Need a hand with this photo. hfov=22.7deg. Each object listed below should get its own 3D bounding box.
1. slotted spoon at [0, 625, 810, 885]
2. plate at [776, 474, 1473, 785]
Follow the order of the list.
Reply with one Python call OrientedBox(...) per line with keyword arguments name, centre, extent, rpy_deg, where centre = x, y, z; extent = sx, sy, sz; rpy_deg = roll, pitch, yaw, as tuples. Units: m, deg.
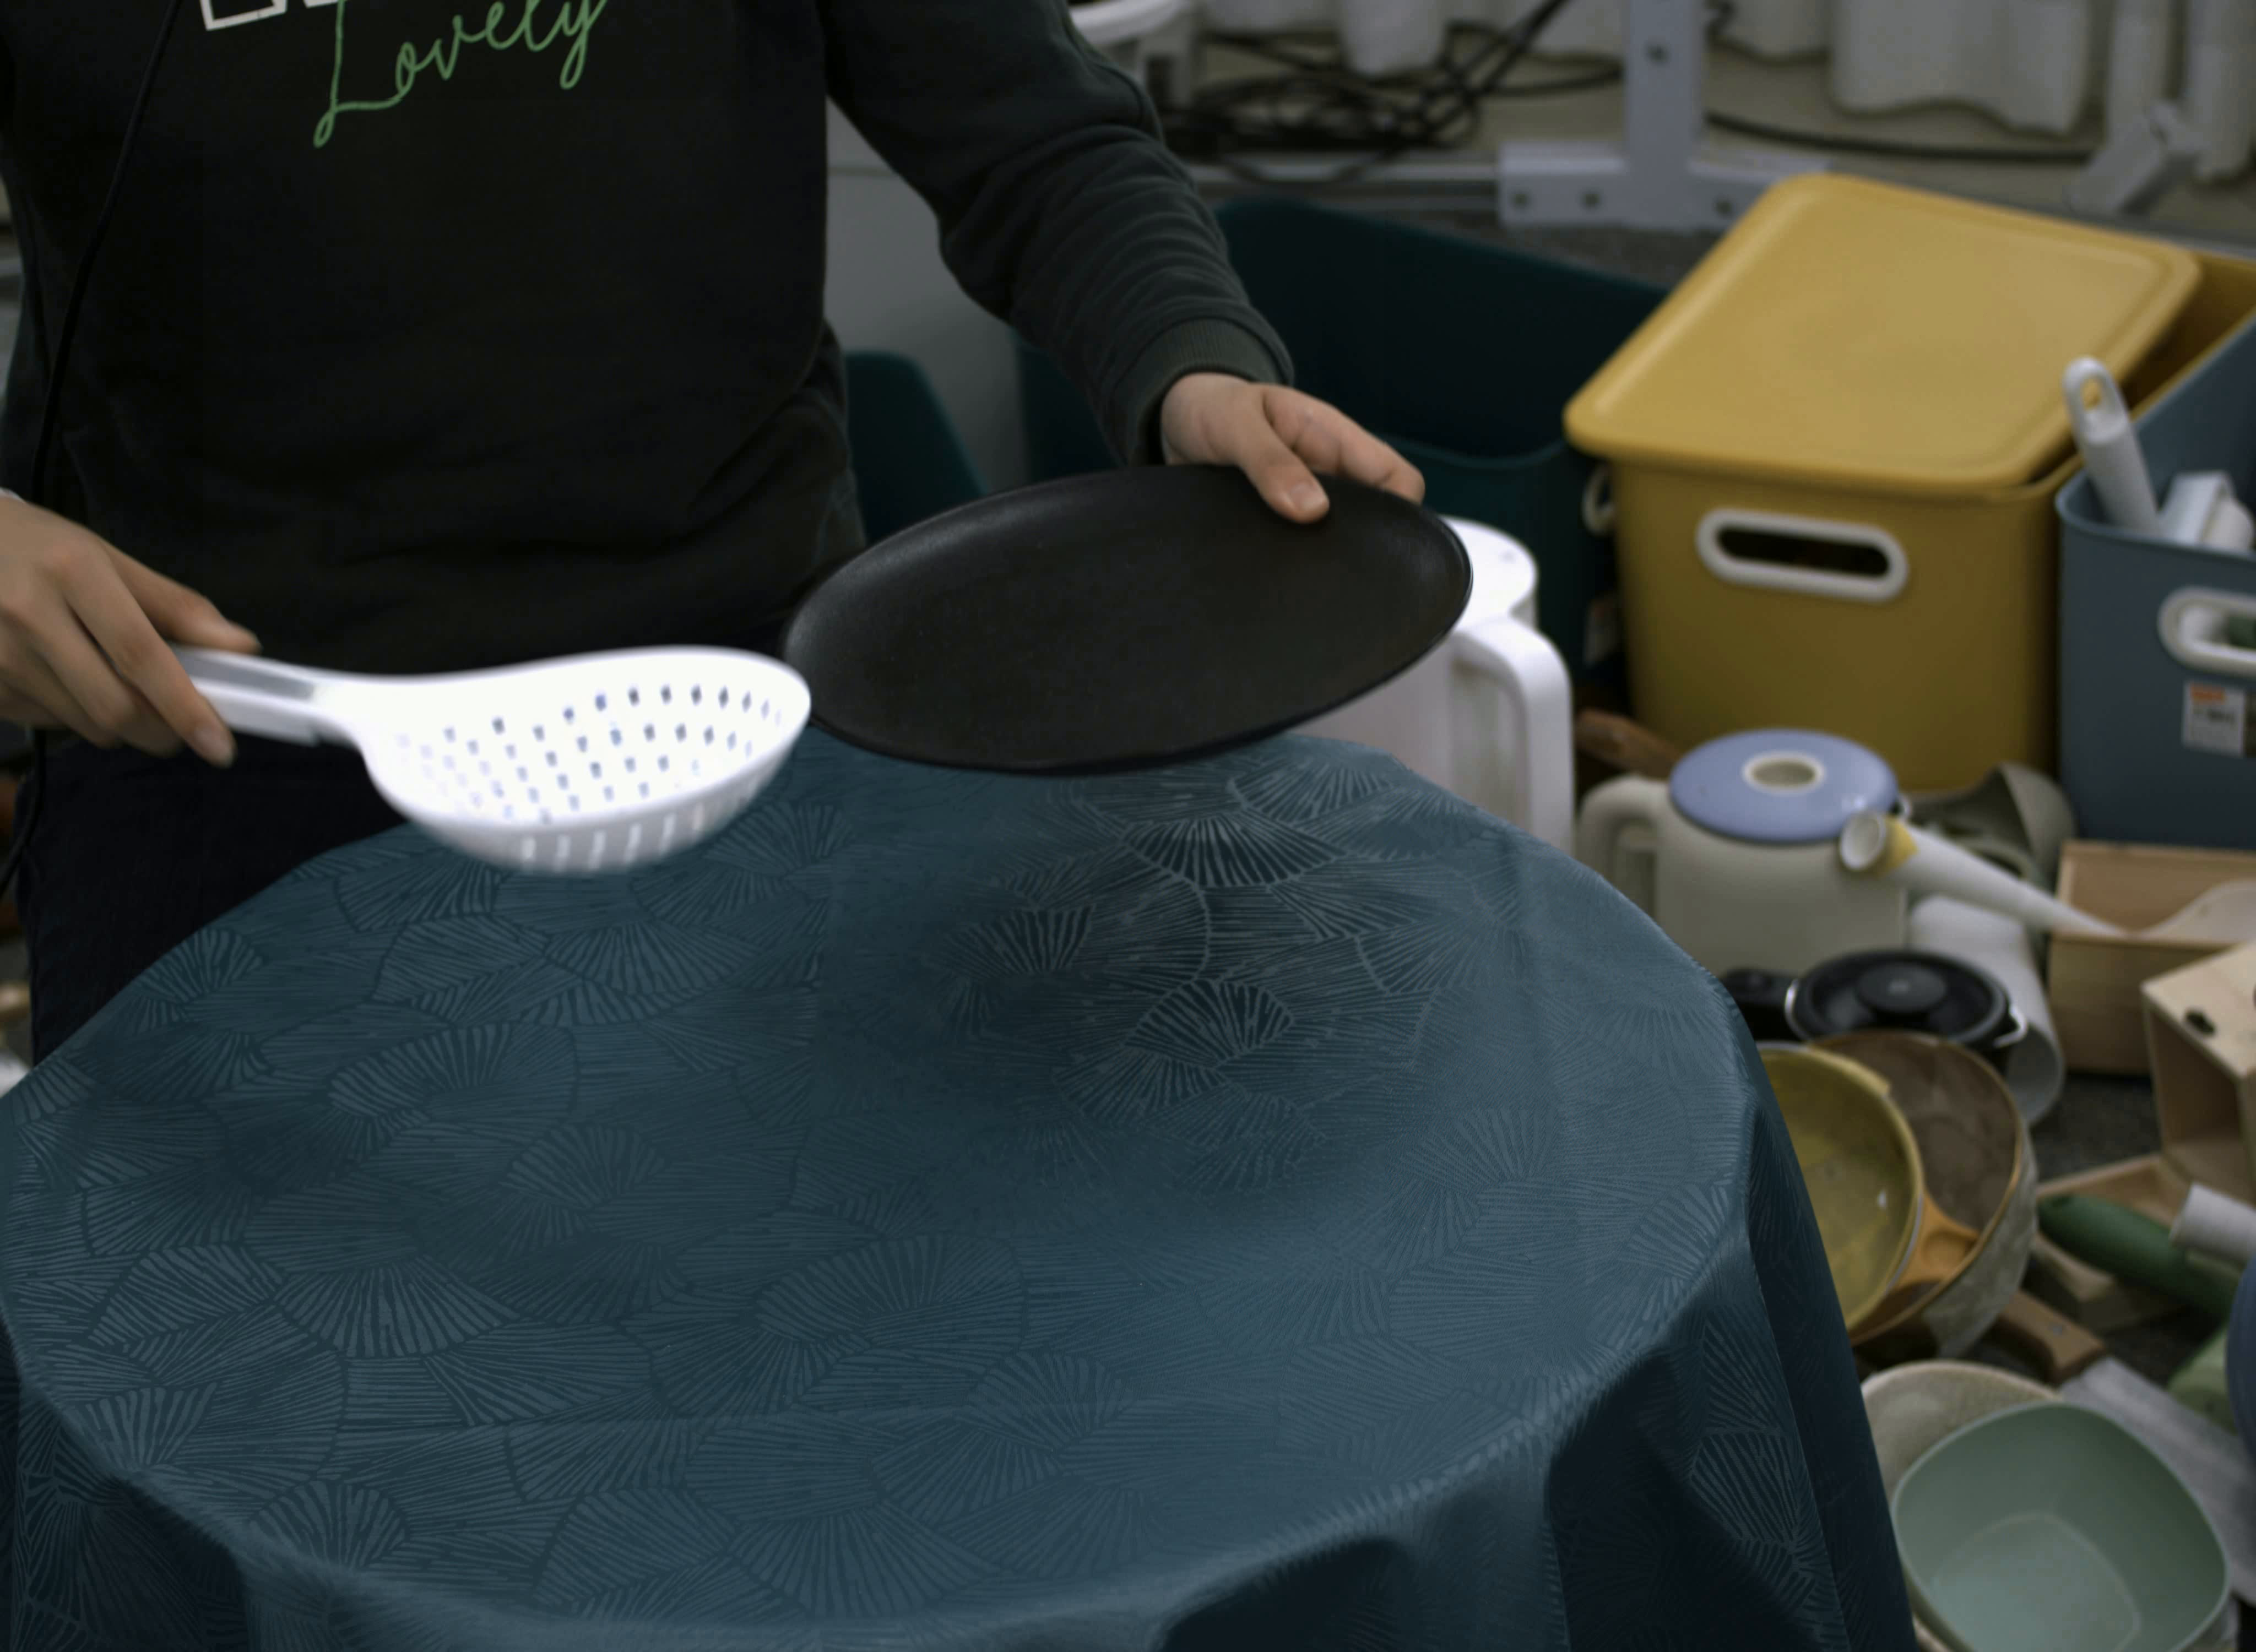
OrientedBox(name="slotted spoon", centre=(-0.247, -0.033, 1.825), extent=(0.348, 0.045, 0.138), rpy_deg=(15, 31, 37))
OrientedBox(name="plate", centre=(0.000, -0.064, 1.946), extent=(0.243, 0.023, 0.248), rpy_deg=(-6, 26, 3))
